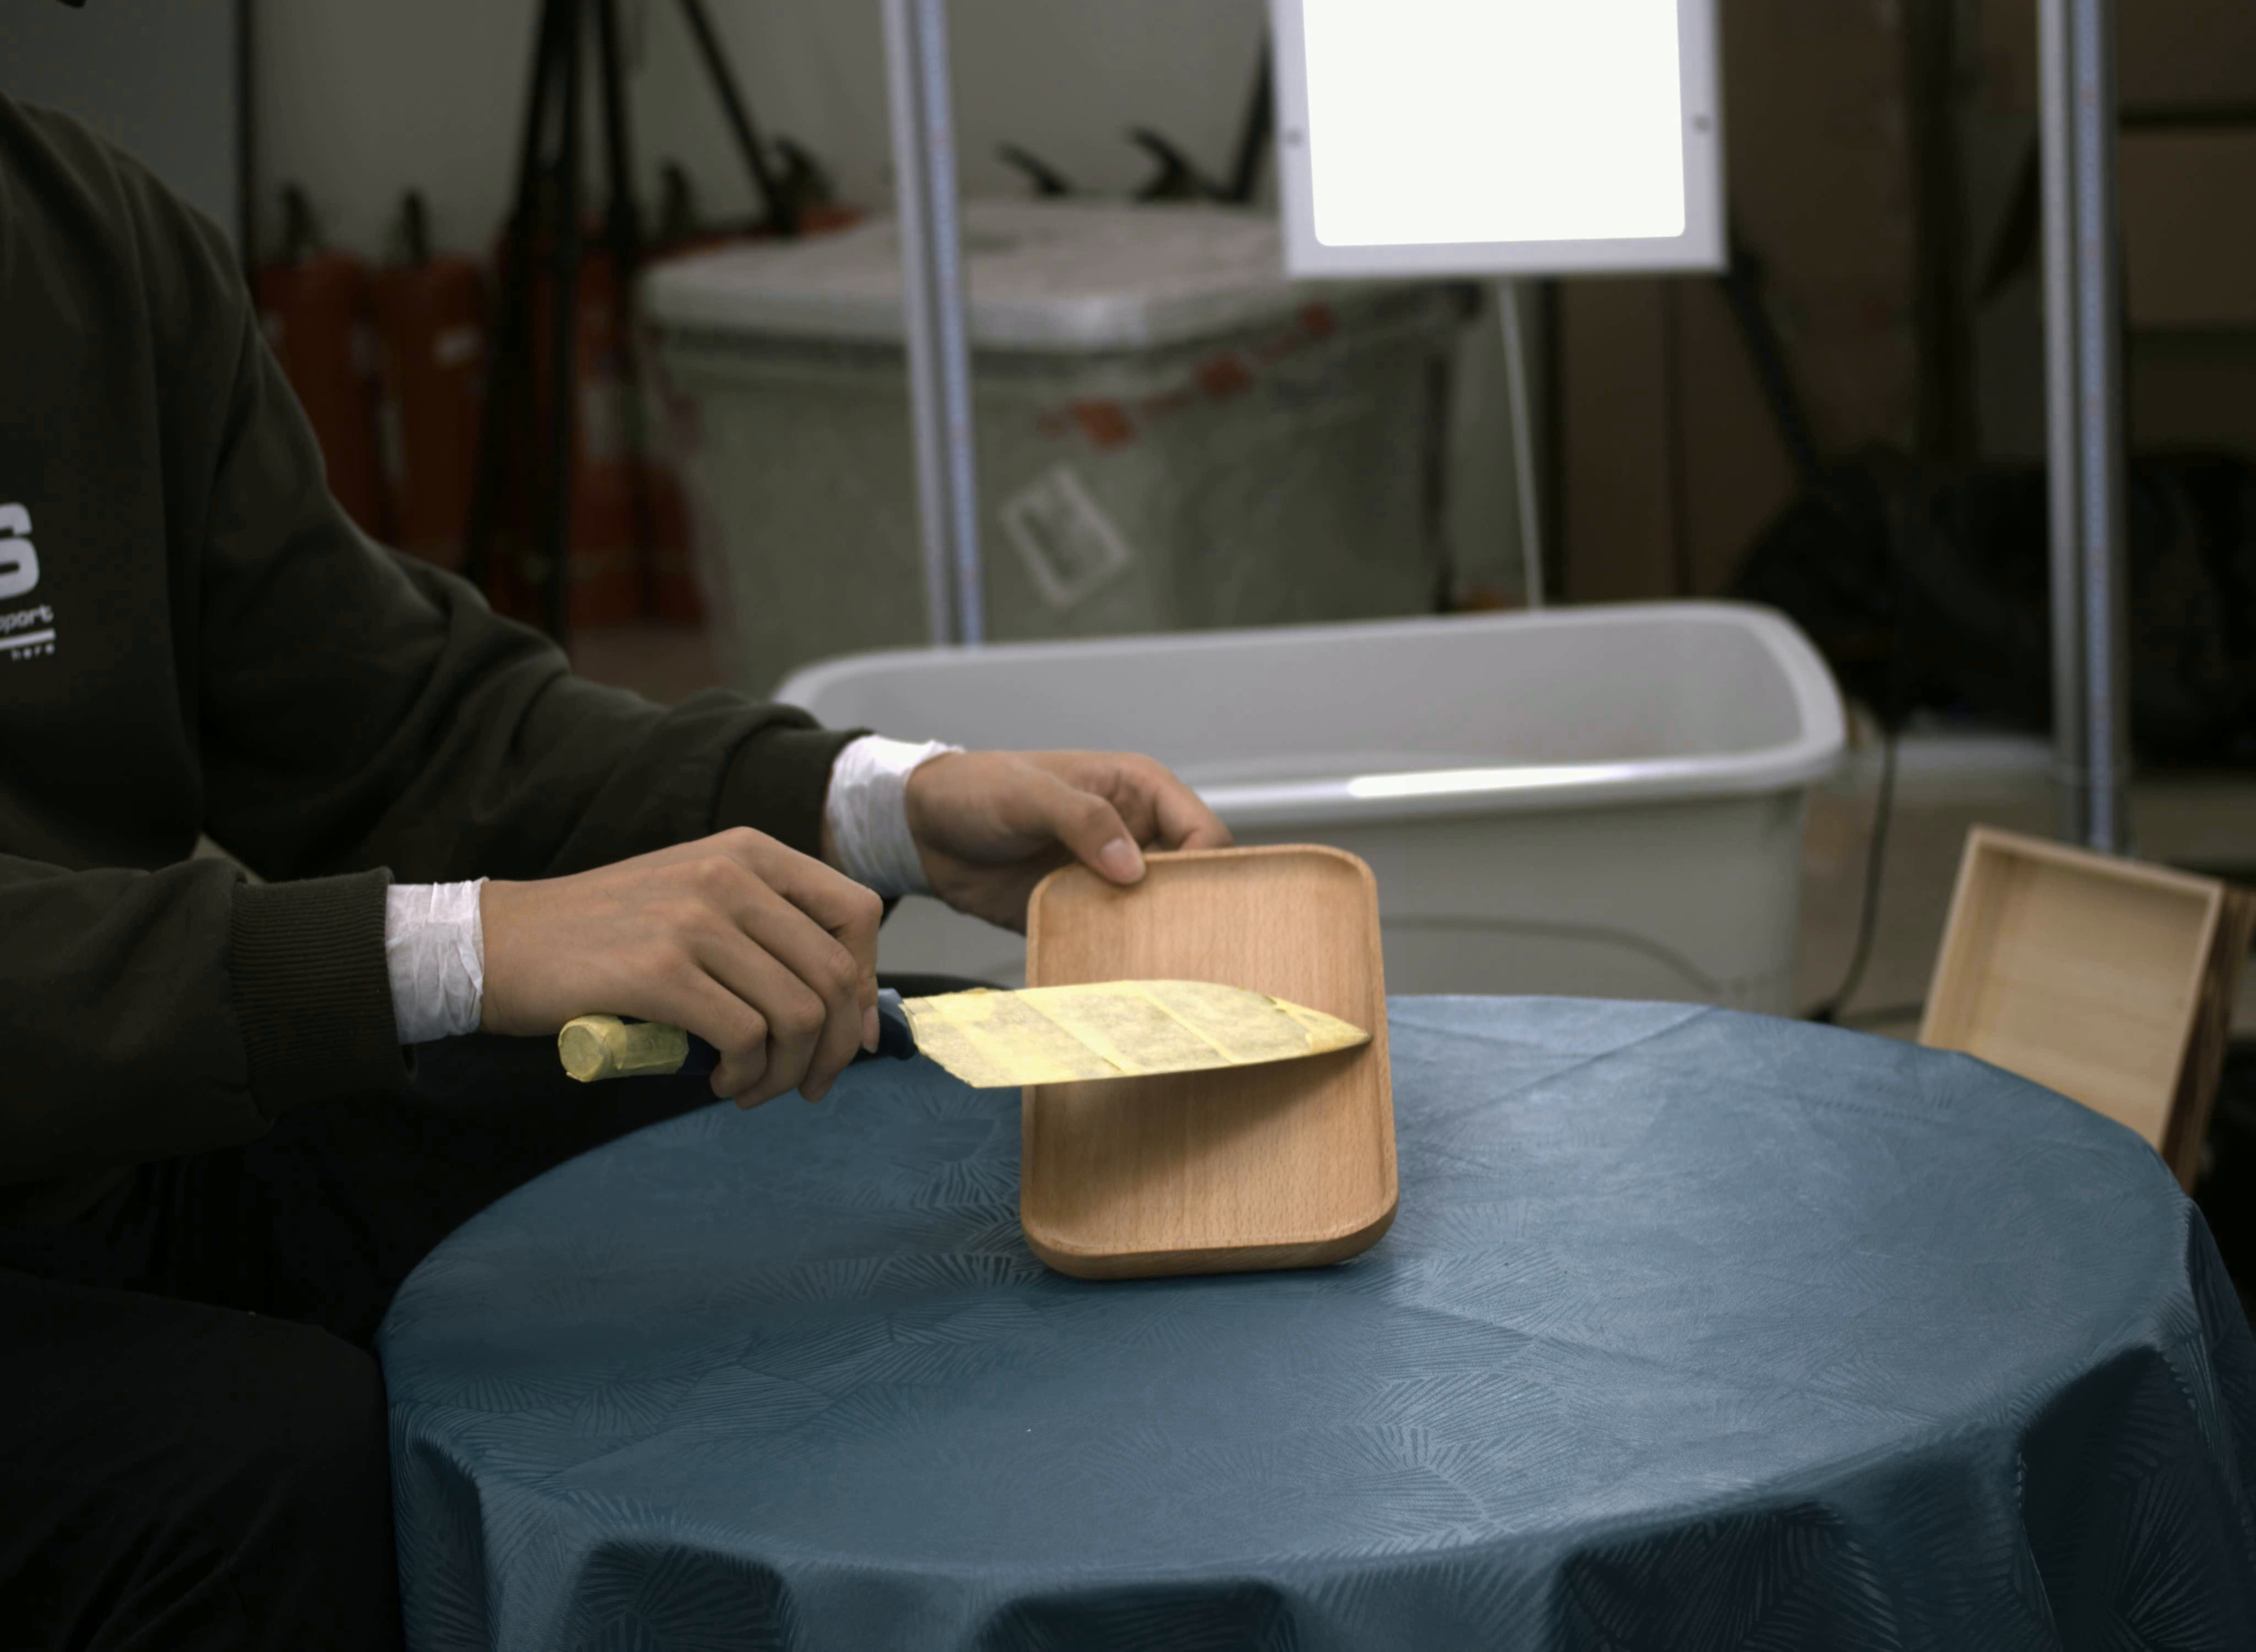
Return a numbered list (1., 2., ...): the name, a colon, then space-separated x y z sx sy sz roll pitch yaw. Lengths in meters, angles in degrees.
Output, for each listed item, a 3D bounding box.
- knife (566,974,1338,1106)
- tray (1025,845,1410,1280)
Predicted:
1. knife: -0.051 0.073 1.839 0.283 0.027 0.082 -5 22 -29
2. tray: 0.030 0.079 1.905 0.131 0.023 0.249 -7 32 5
